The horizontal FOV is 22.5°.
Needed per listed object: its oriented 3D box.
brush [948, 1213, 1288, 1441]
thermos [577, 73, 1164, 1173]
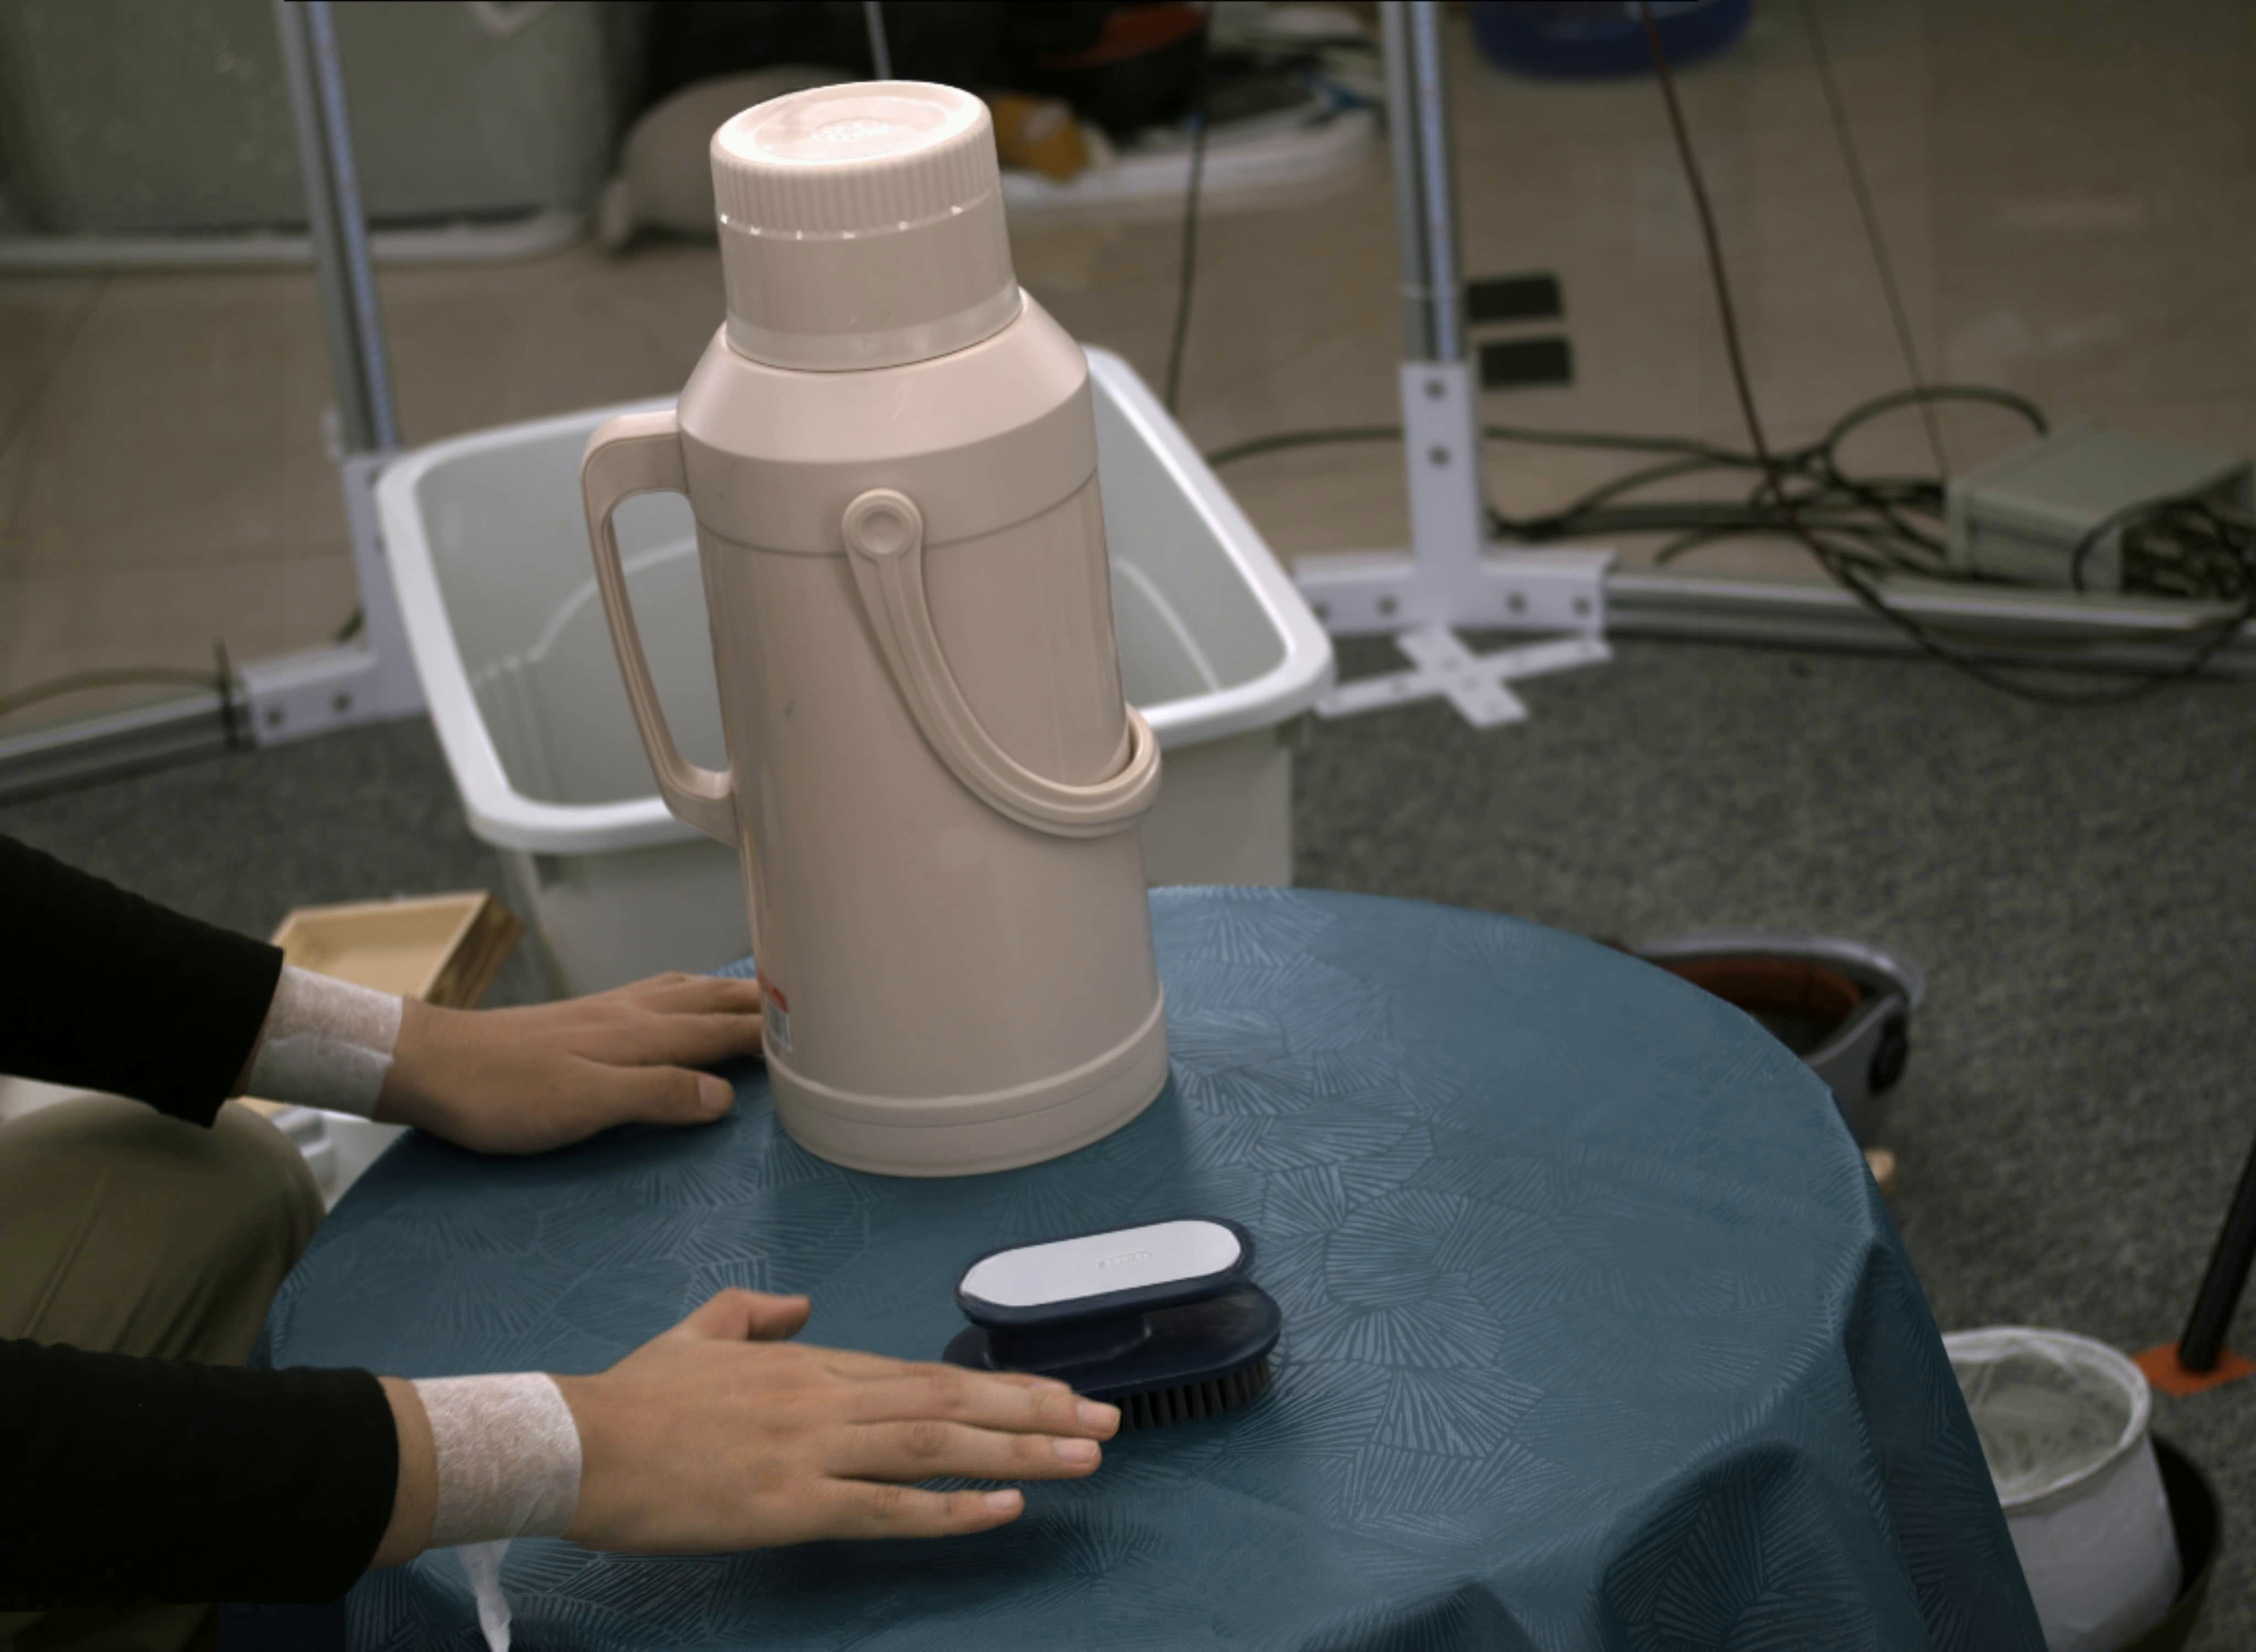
[{"bbox_3d":[-0.004,0.179,2.001,0.121,0.062,0.067,-8,25,-5],"label":"brush"},{"bbox_3d":[-0.097,-0.077,2.158,0.207,0.413,0.172,-5,27,1],"label":"thermos"}]
